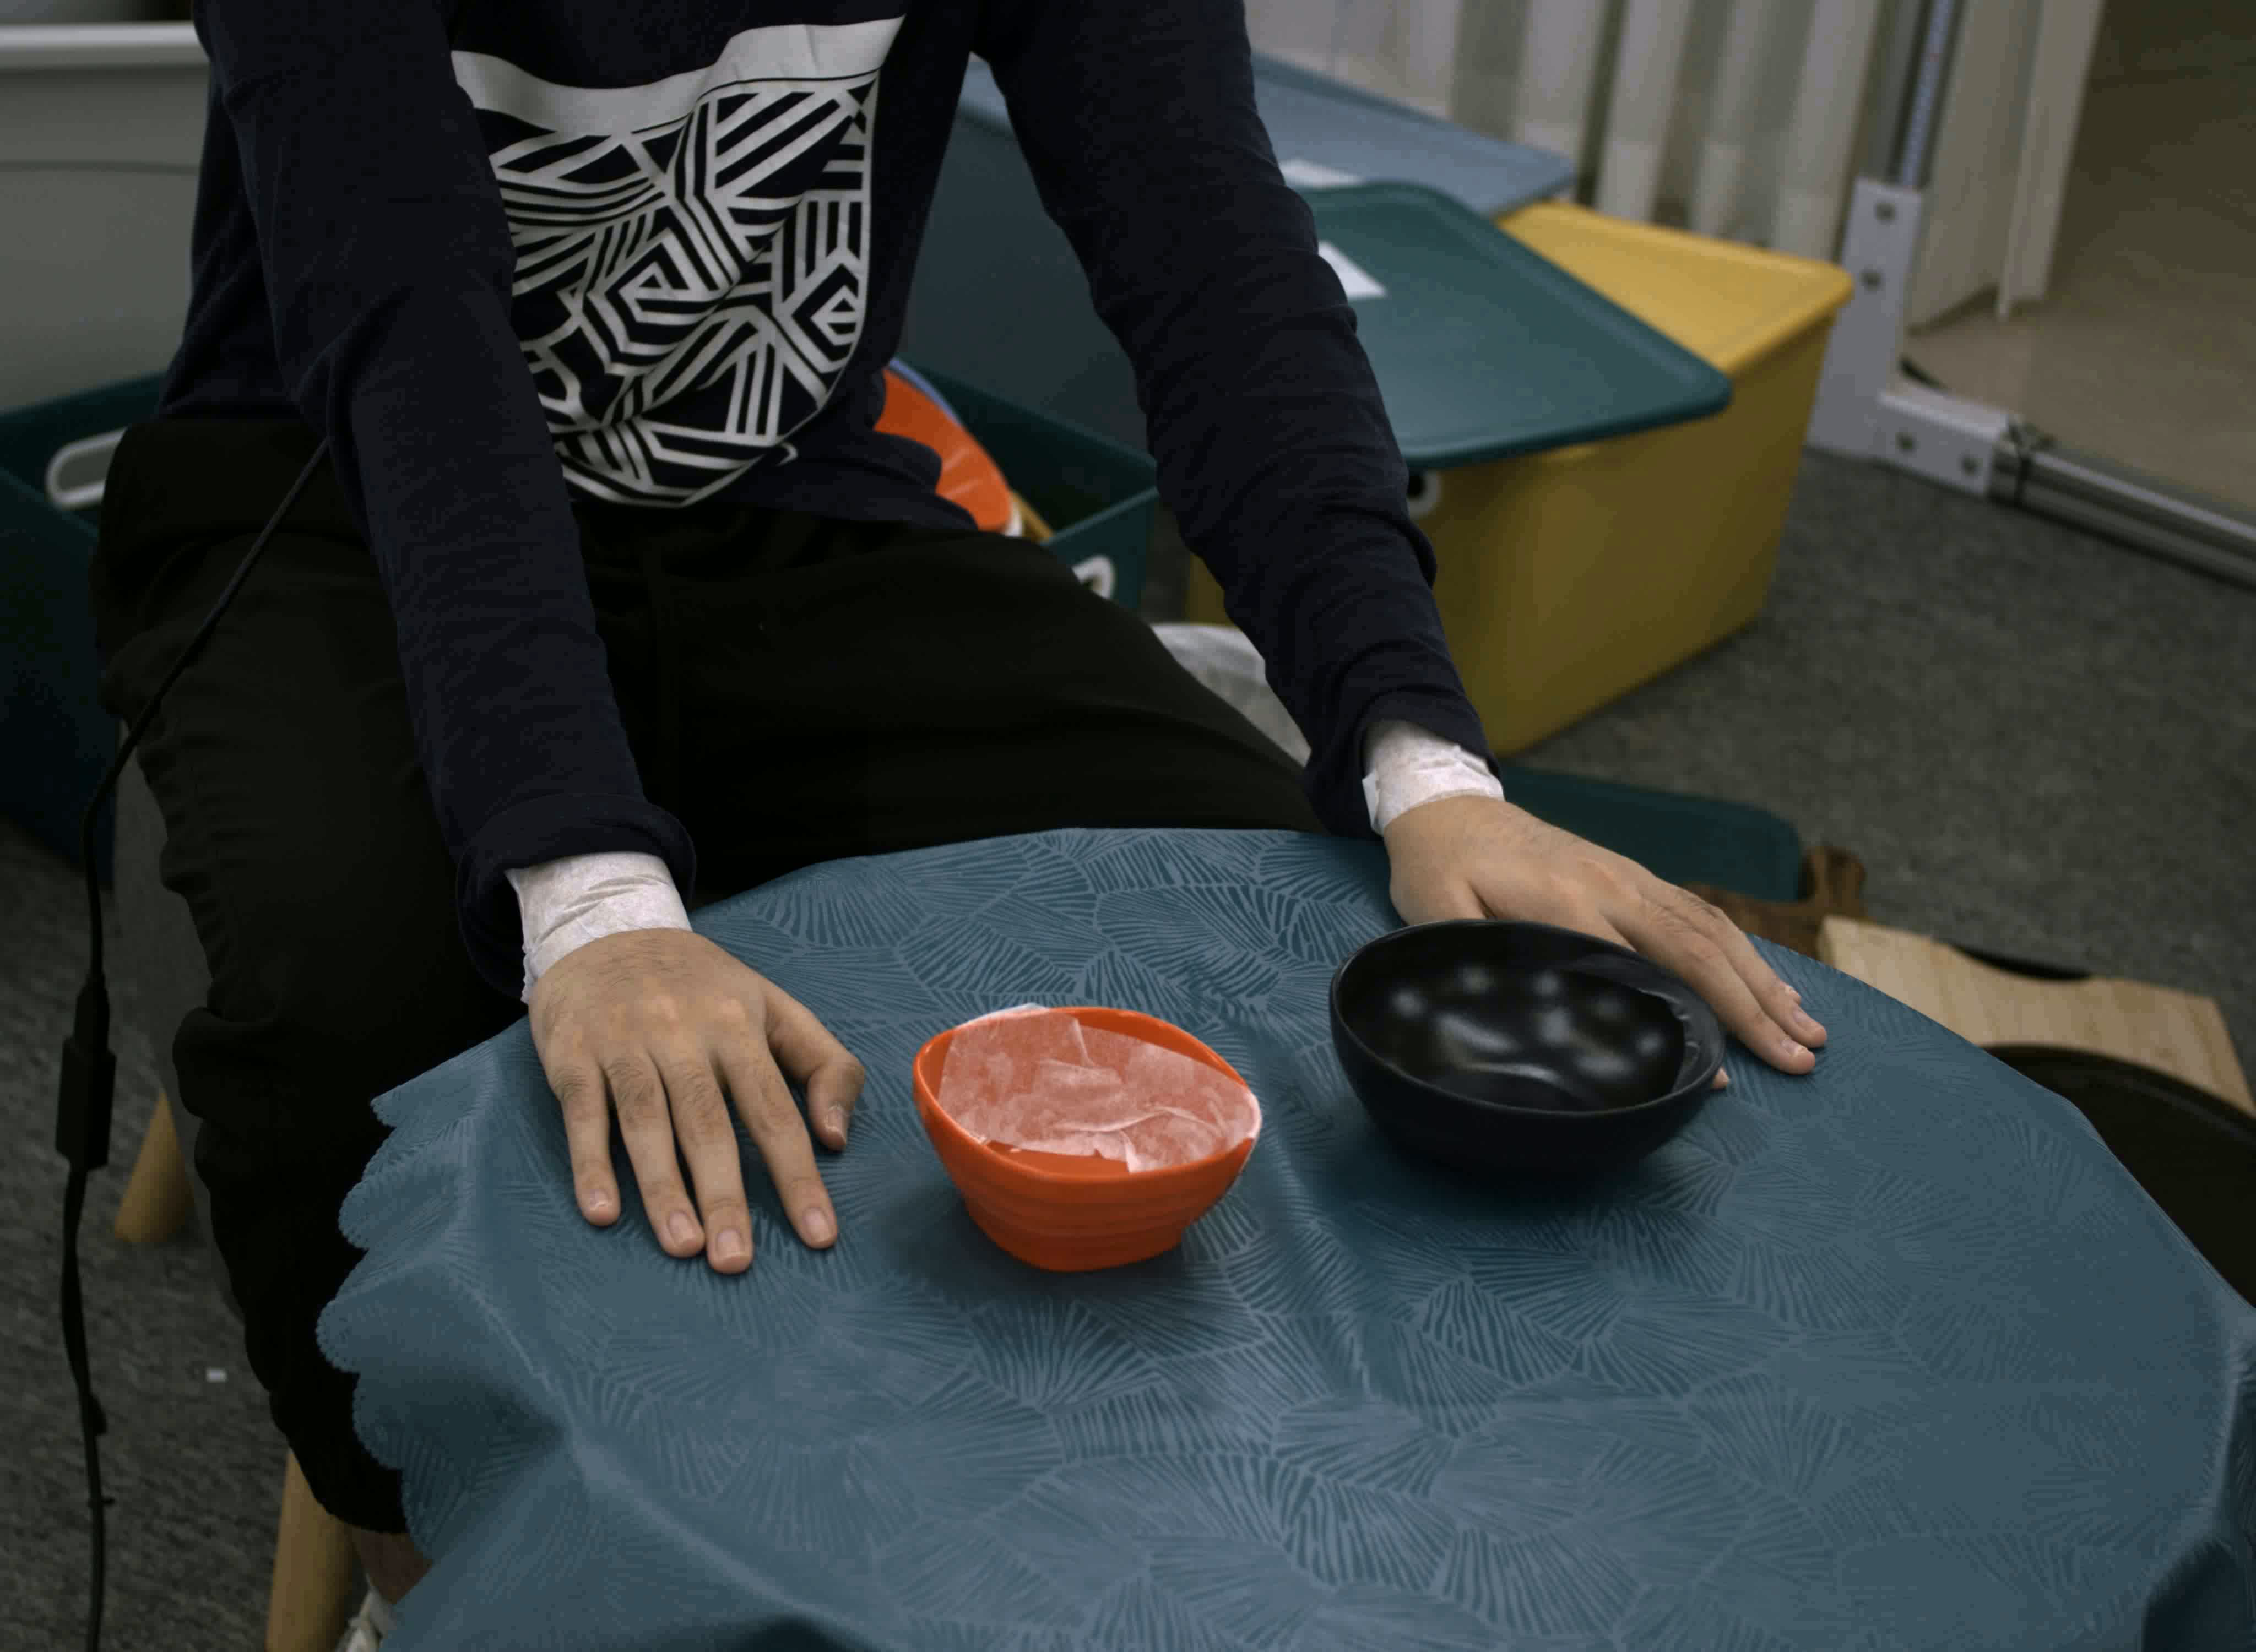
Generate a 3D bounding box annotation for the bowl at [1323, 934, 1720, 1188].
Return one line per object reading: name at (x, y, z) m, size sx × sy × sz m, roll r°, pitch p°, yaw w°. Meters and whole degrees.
bowl at (0.135, 0.089, 1.857) m, size 0.139 × 0.049 × 0.141 m, roll 4°, pitch 23°, yaw -2°

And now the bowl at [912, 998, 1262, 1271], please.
bowl at (-0.016, 0.107, 1.776) m, size 0.118 × 0.051 × 0.119 m, roll 5°, pitch 29°, yaw -3°
